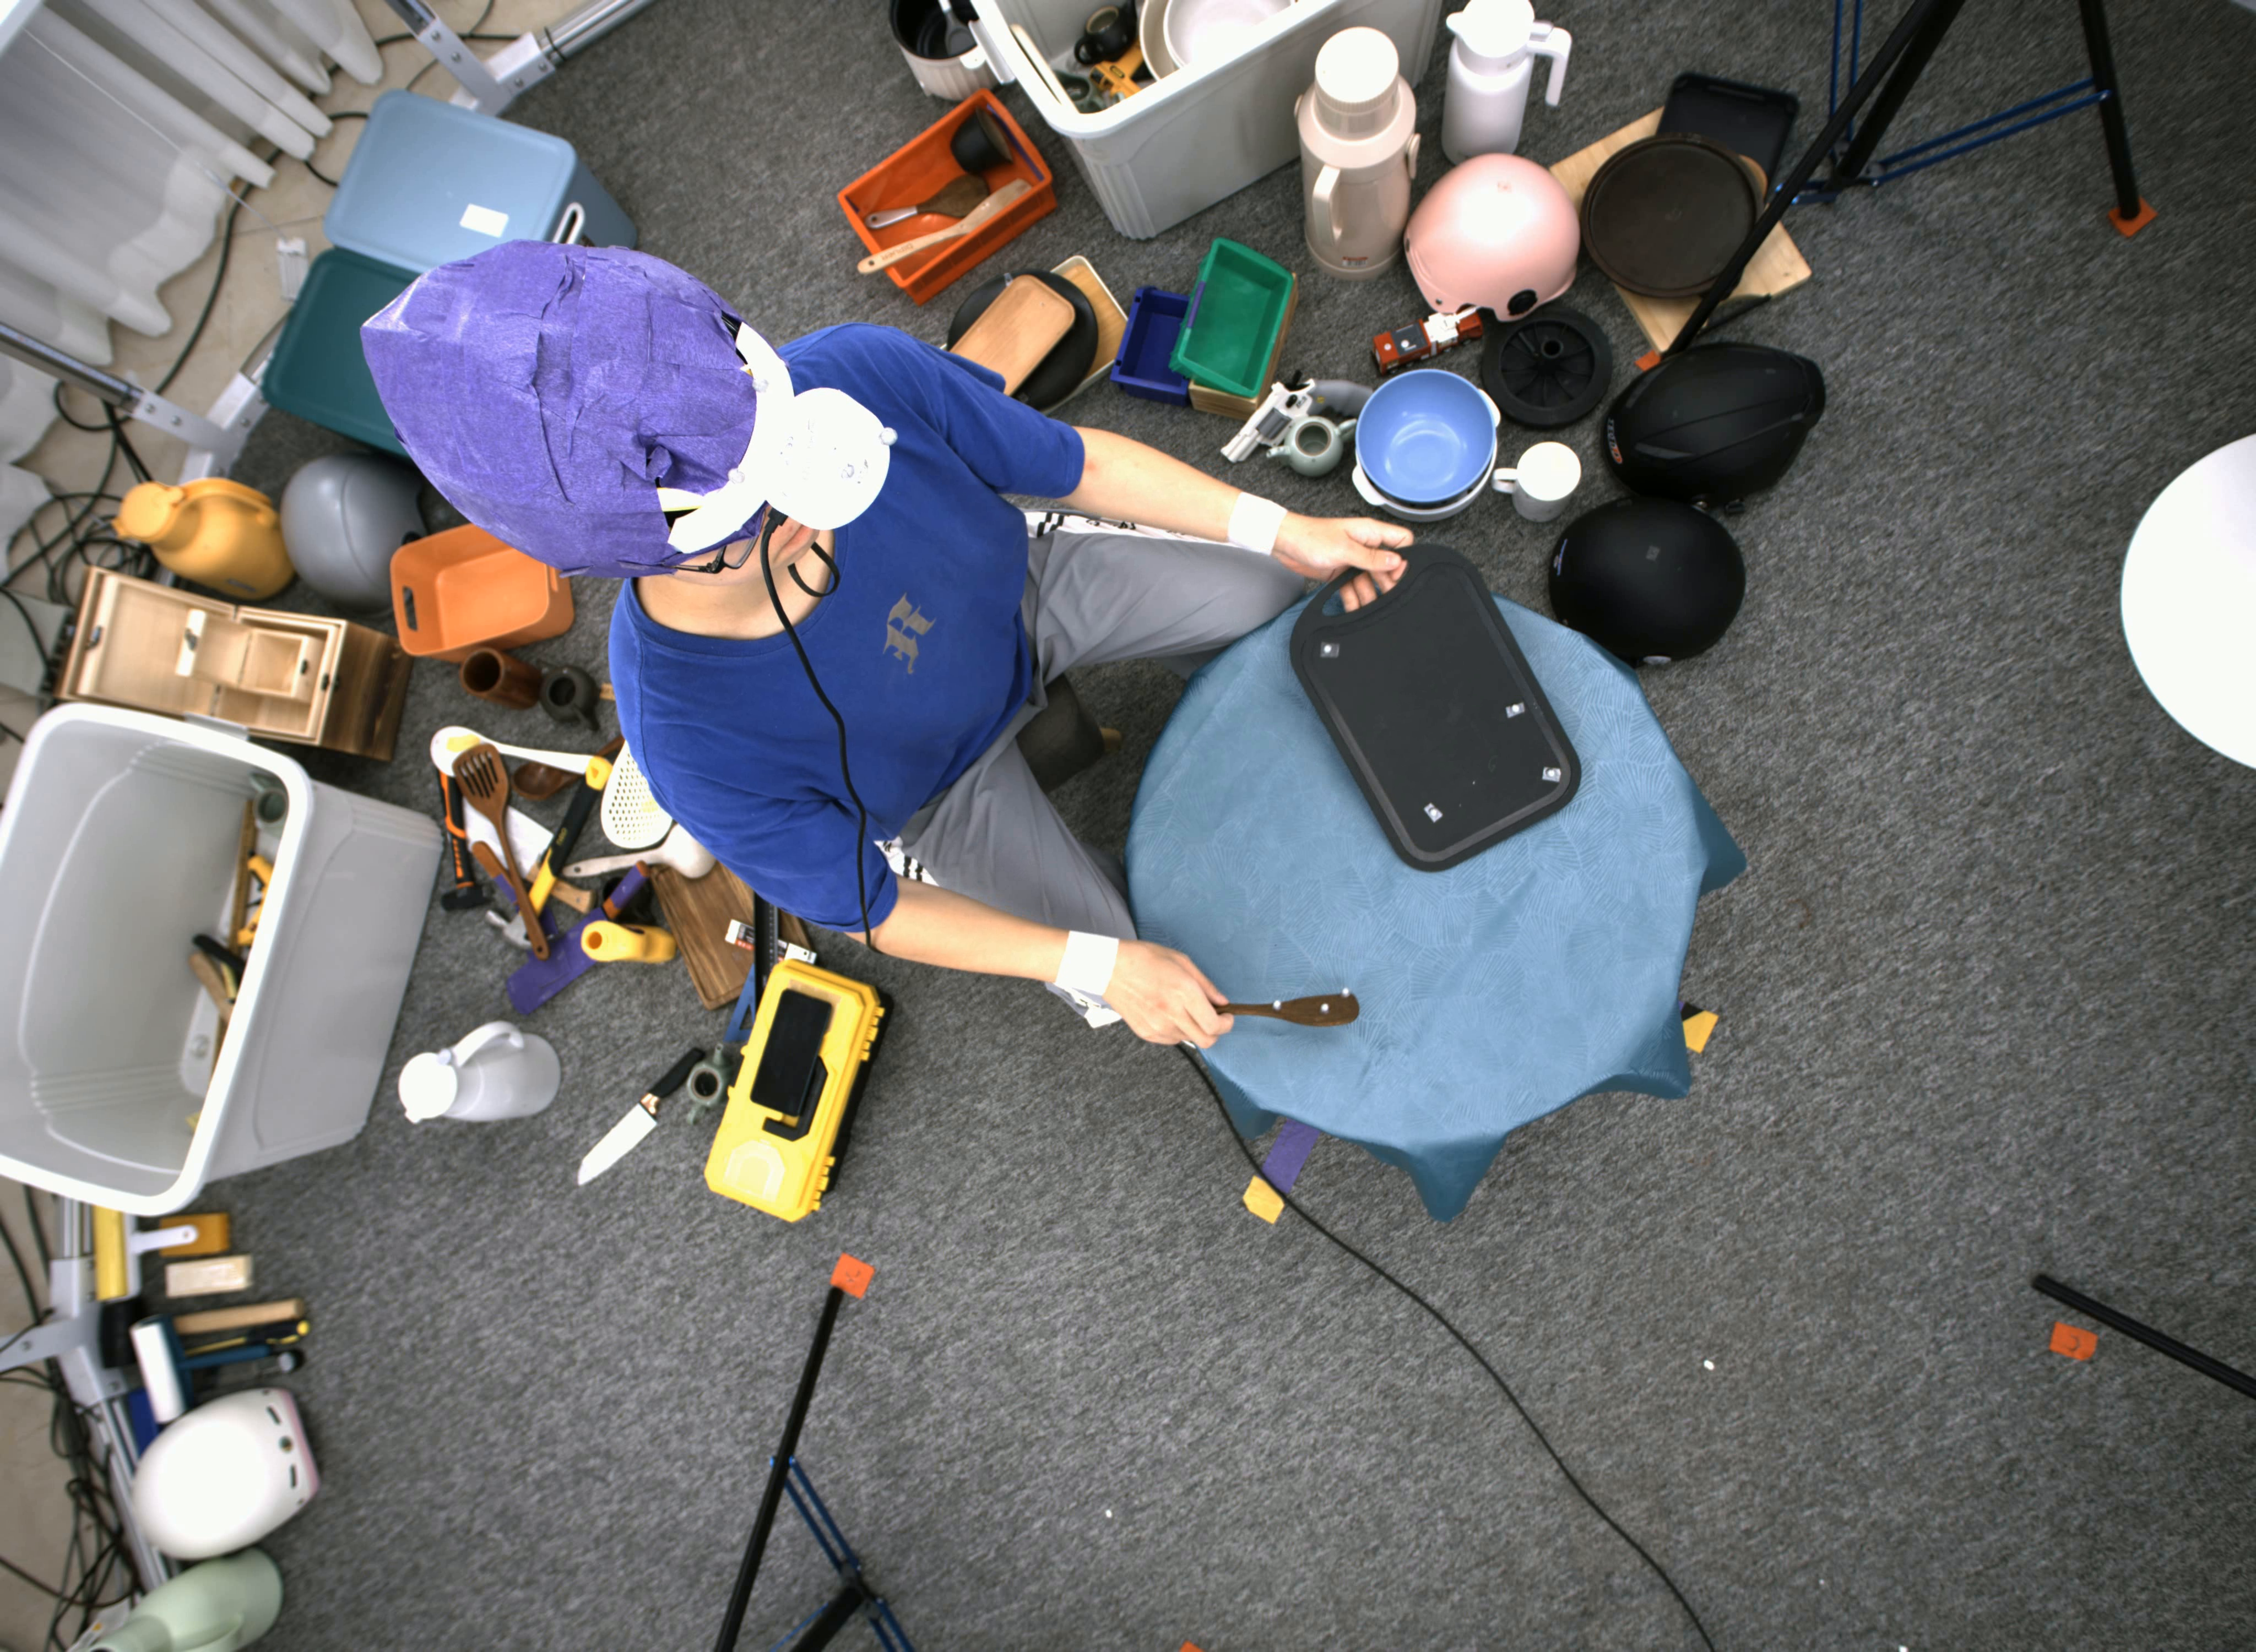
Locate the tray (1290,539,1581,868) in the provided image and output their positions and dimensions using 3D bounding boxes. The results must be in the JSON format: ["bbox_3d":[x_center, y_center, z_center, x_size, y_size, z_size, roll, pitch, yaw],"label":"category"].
[{"bbox_3d":[0.310,-0.129,1.405,0.213,0.009,0.327,-28,98,14],"label":"tray"}]

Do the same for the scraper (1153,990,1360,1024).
[{"bbox_3d":[0.130,0.185,1.414,0.212,0.074,0.011,-2,105,8],"label":"scraper"}]
